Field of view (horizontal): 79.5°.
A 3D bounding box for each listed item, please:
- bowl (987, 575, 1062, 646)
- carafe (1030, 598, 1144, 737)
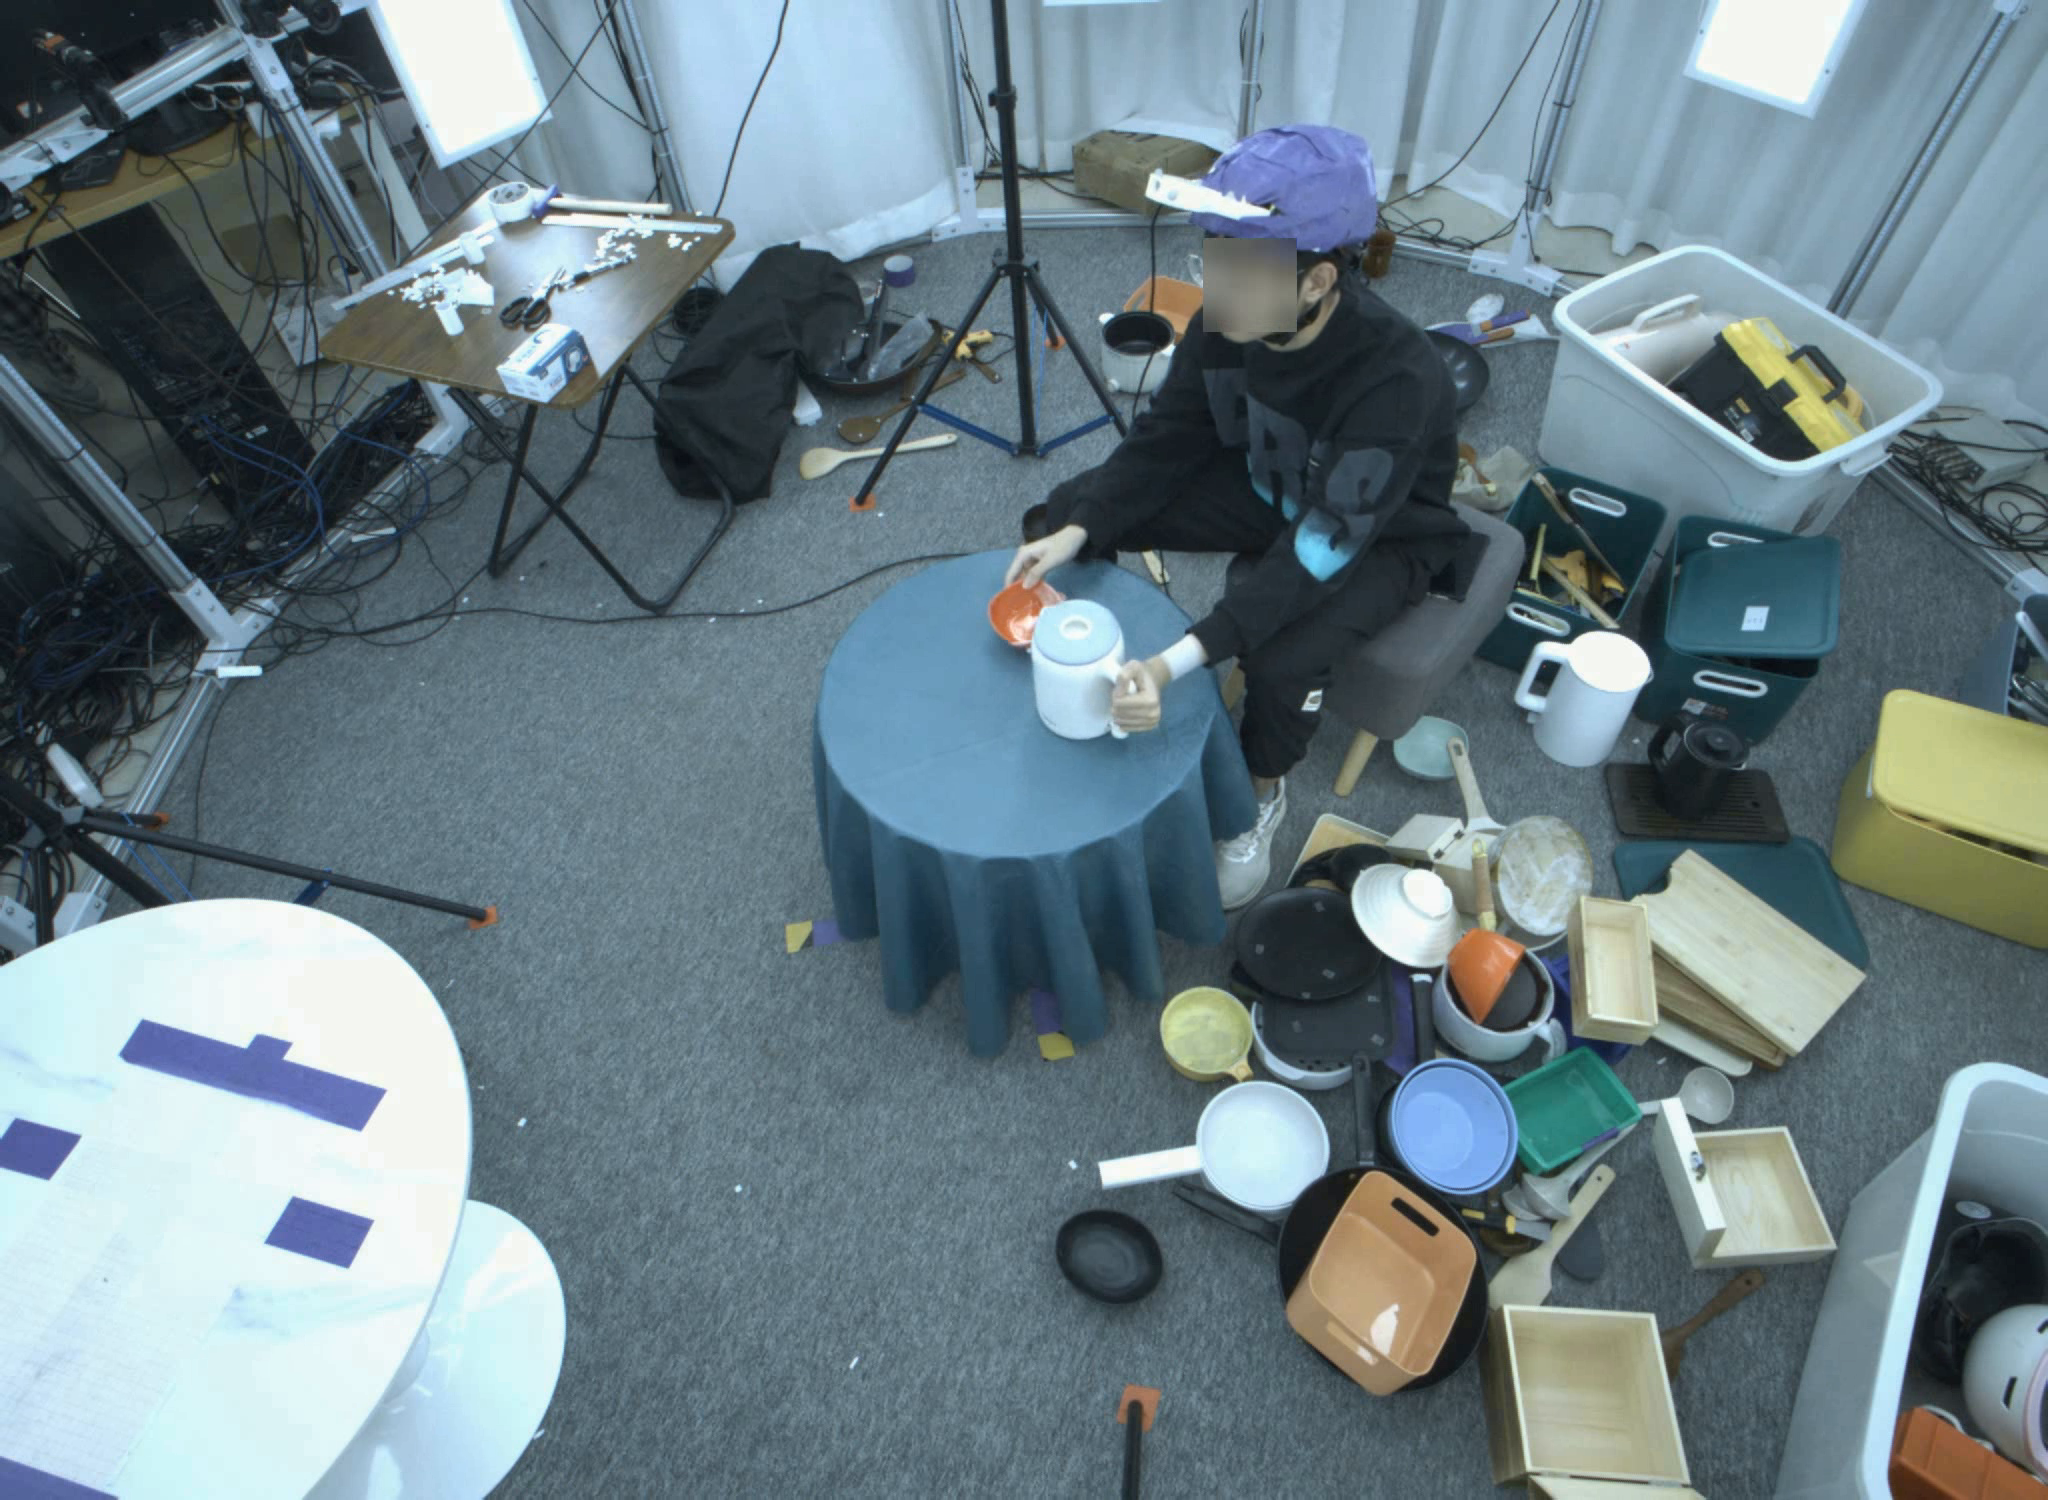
[{"bbox_3d":[0.006,-0.205,1.883,0.118,0.052,0.118,-5,64,10],"label":"bowl"},{"bbox_3d":[0.095,-0.103,1.746,0.188,0.184,0.133,39,67,24],"label":"carafe"}]
